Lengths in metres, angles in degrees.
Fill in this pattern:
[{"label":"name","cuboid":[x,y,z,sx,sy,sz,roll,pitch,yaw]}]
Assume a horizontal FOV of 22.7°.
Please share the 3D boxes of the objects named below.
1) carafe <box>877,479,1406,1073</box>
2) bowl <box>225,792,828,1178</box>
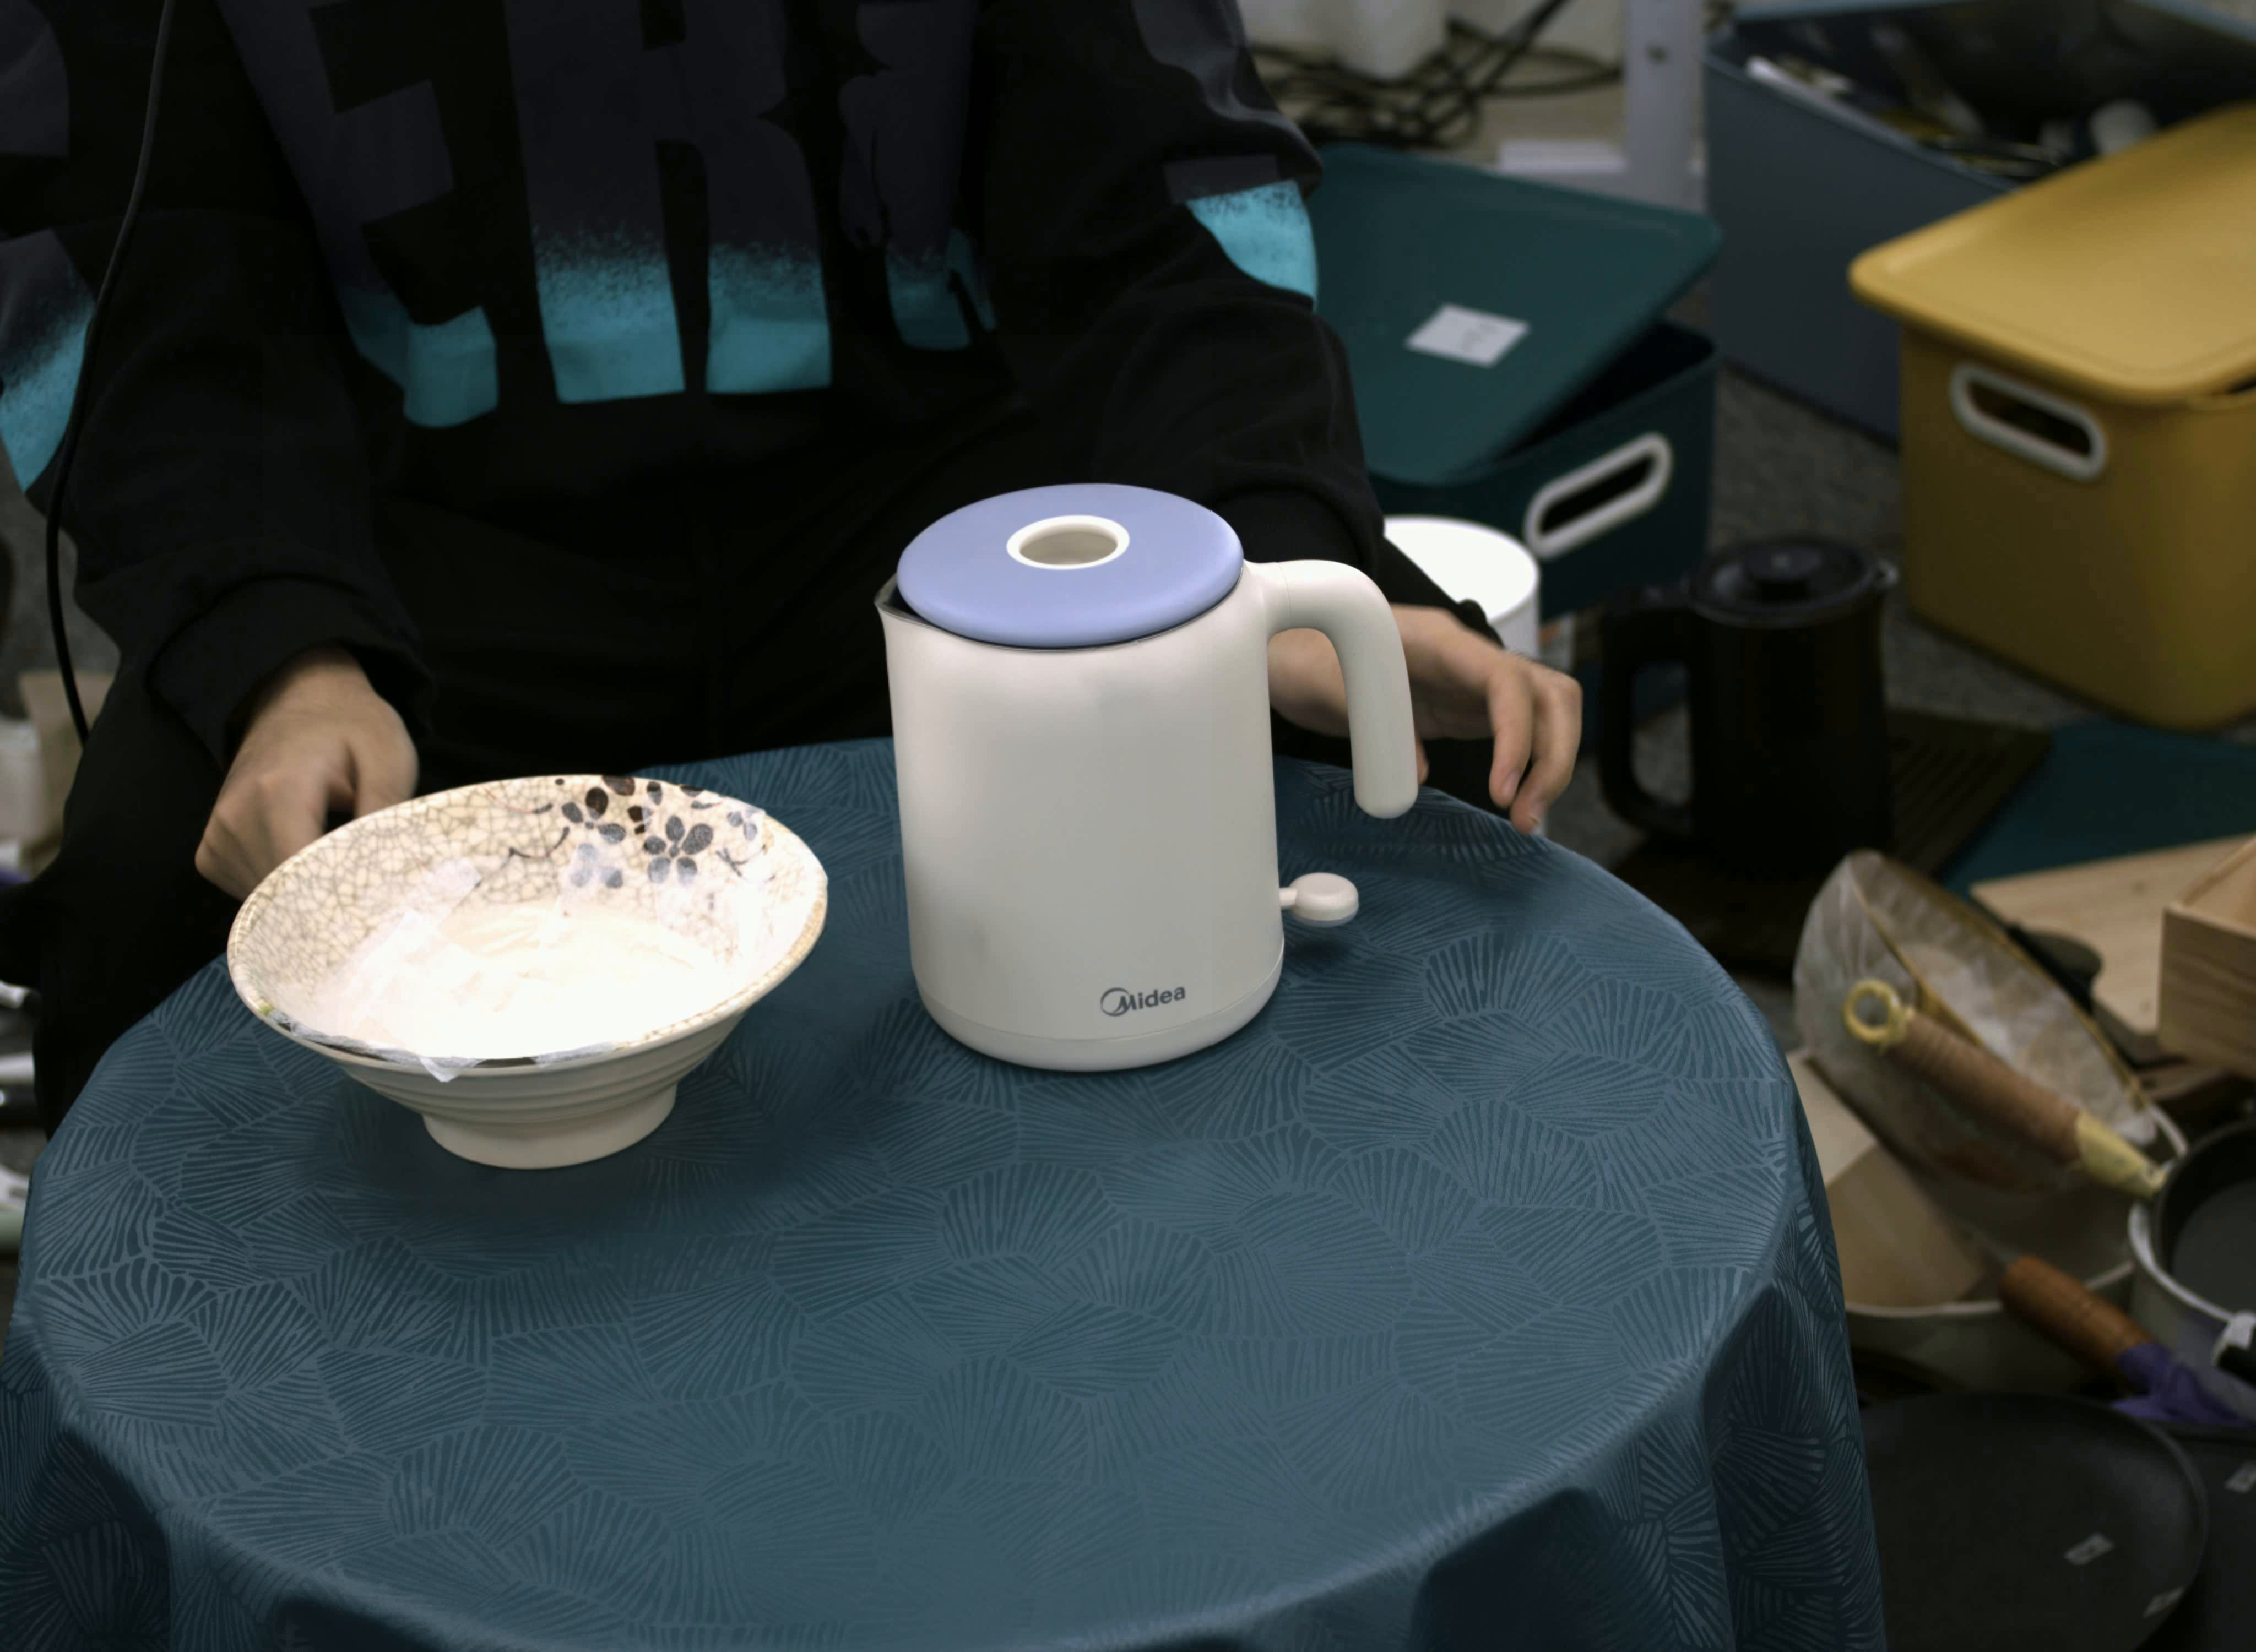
[{"label":"carafe","cuboid":[0.007,-0.021,1.953,0.191,0.180,0.133,-8,28,-15]},{"label":"bowl","cuboid":[-0.200,0.065,1.908,0.203,0.077,0.207,-2,25,2]}]
